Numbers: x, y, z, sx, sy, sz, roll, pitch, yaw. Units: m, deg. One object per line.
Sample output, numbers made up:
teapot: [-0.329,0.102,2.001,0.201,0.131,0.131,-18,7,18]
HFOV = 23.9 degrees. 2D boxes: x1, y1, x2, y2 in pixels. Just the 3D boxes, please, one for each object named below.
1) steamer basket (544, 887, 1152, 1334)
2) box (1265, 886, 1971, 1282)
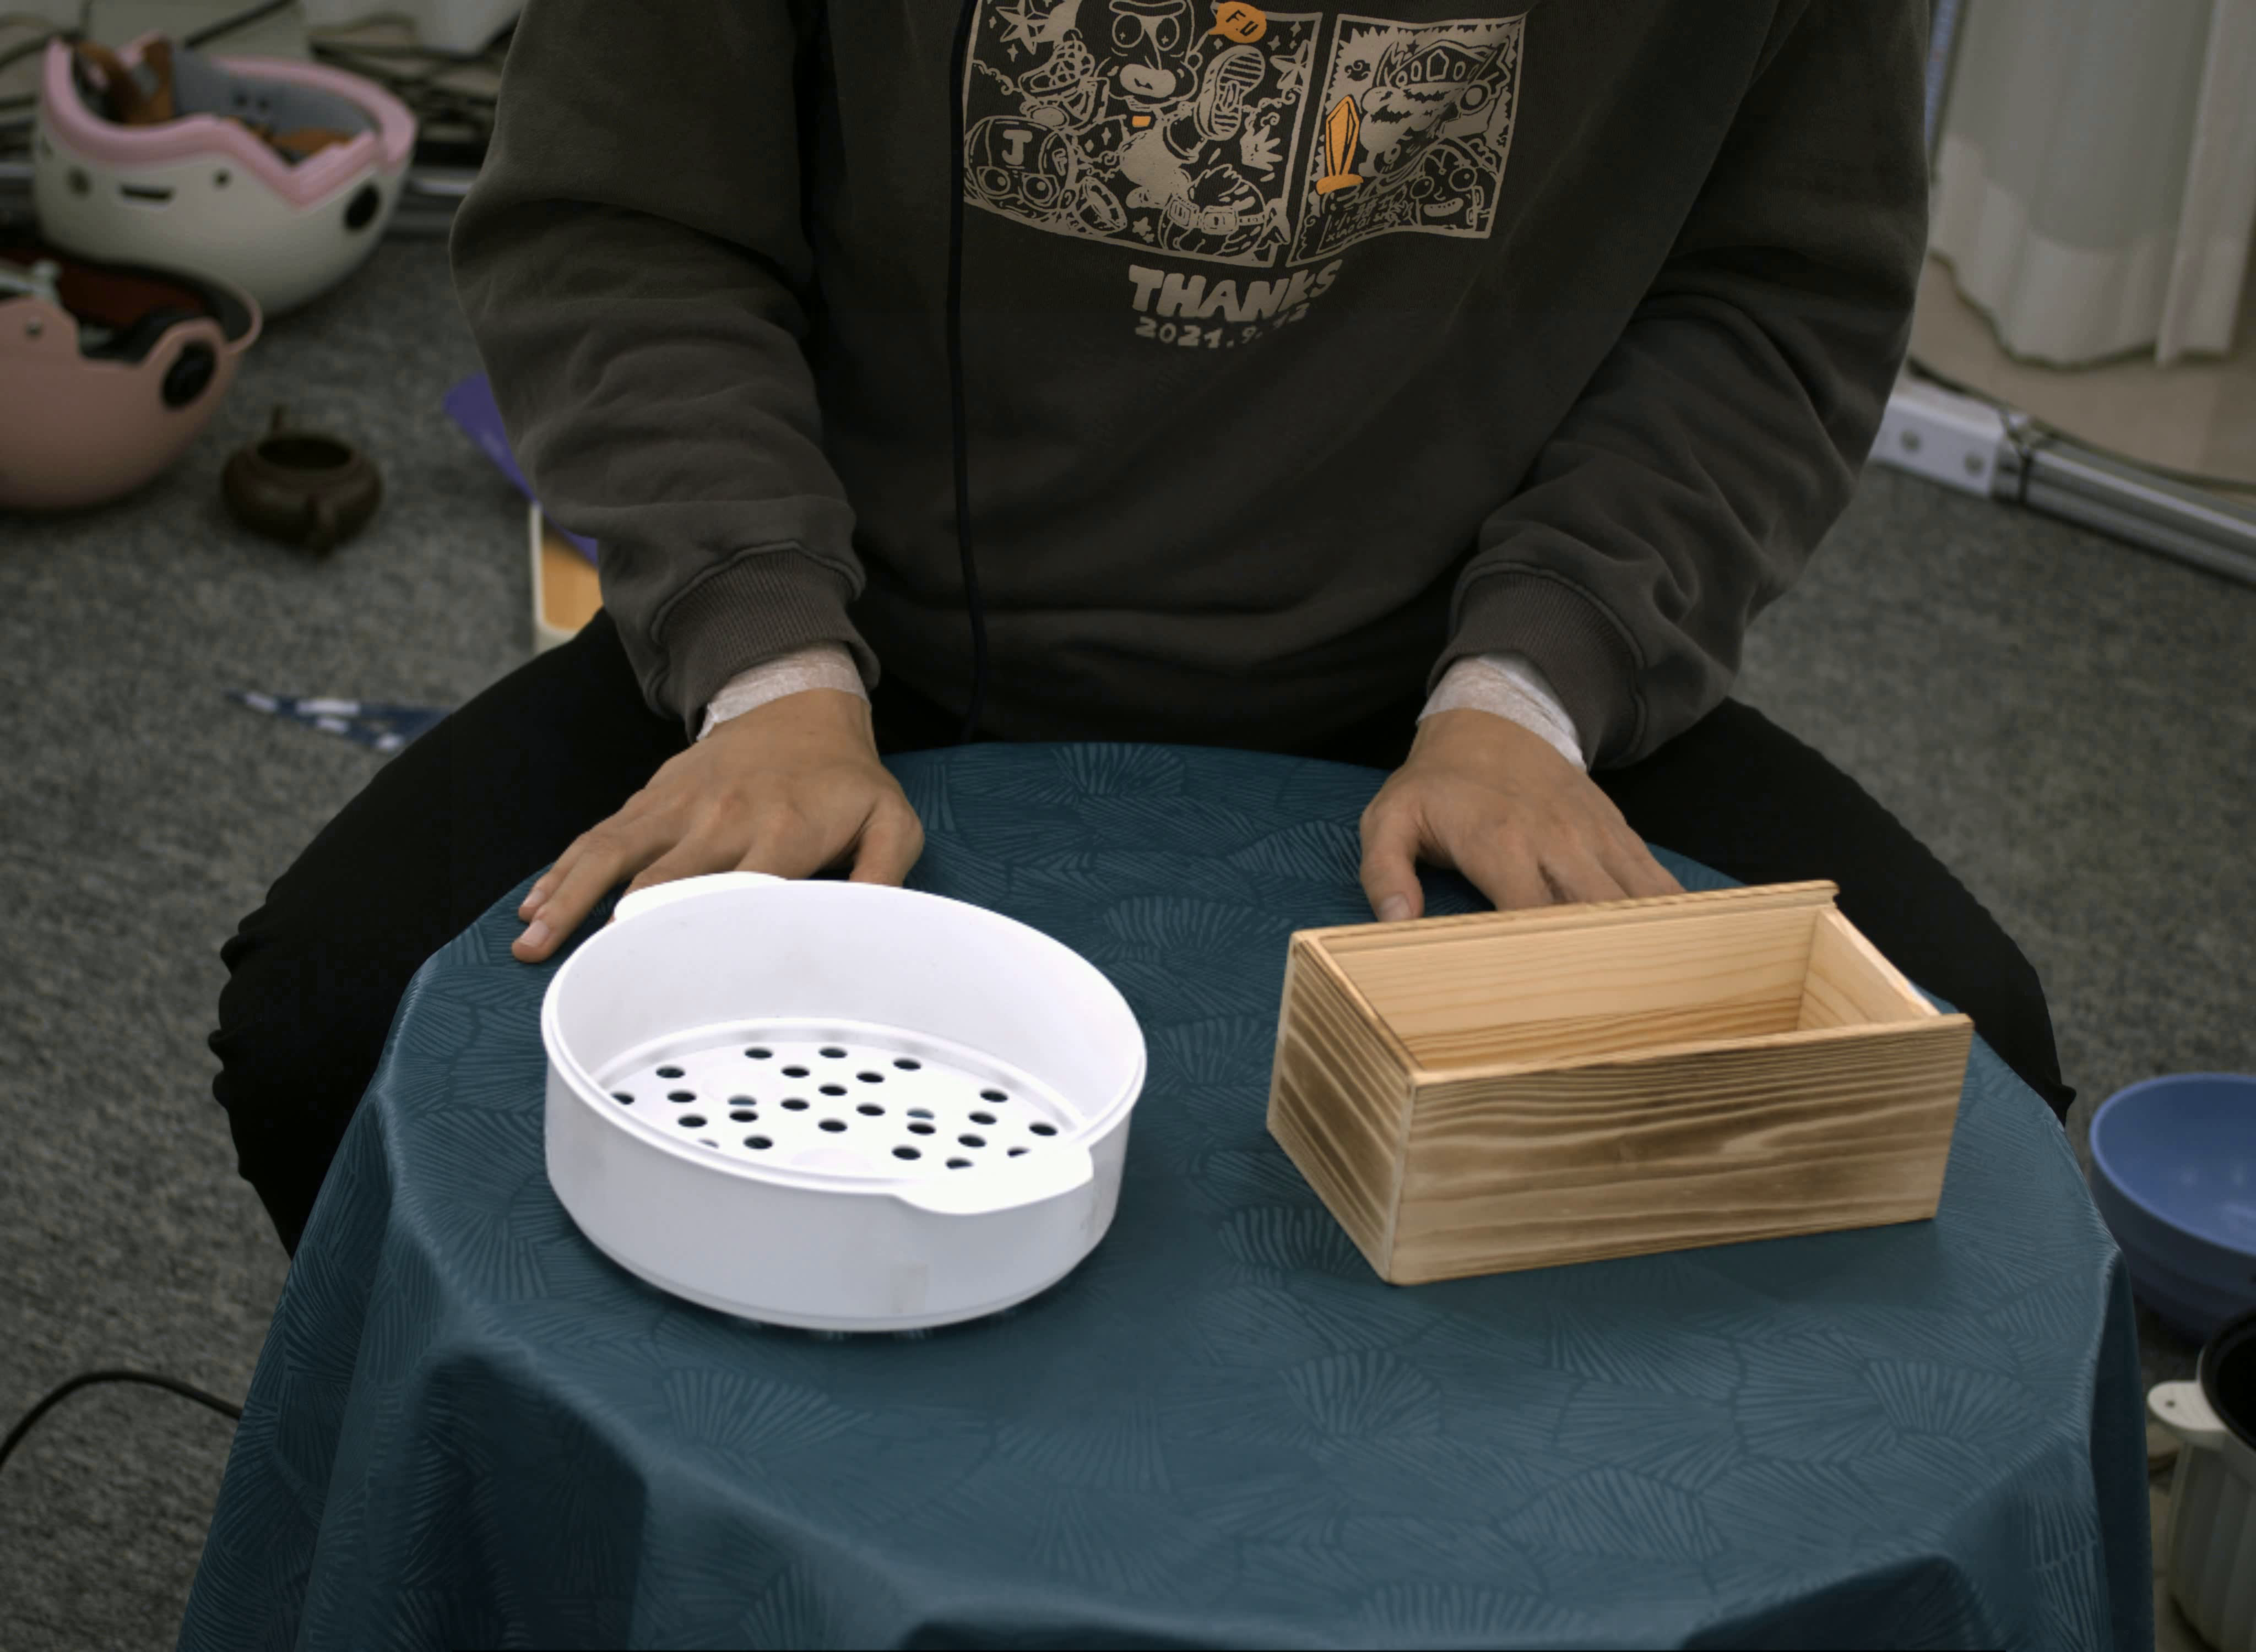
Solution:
steamer basket: [-0.095,0.095,1.764,0.200,0.069,0.232,-10,29,-31]
box: [0.167,0.086,1.826,0.210,0.080,0.108,-5,28,-22]
